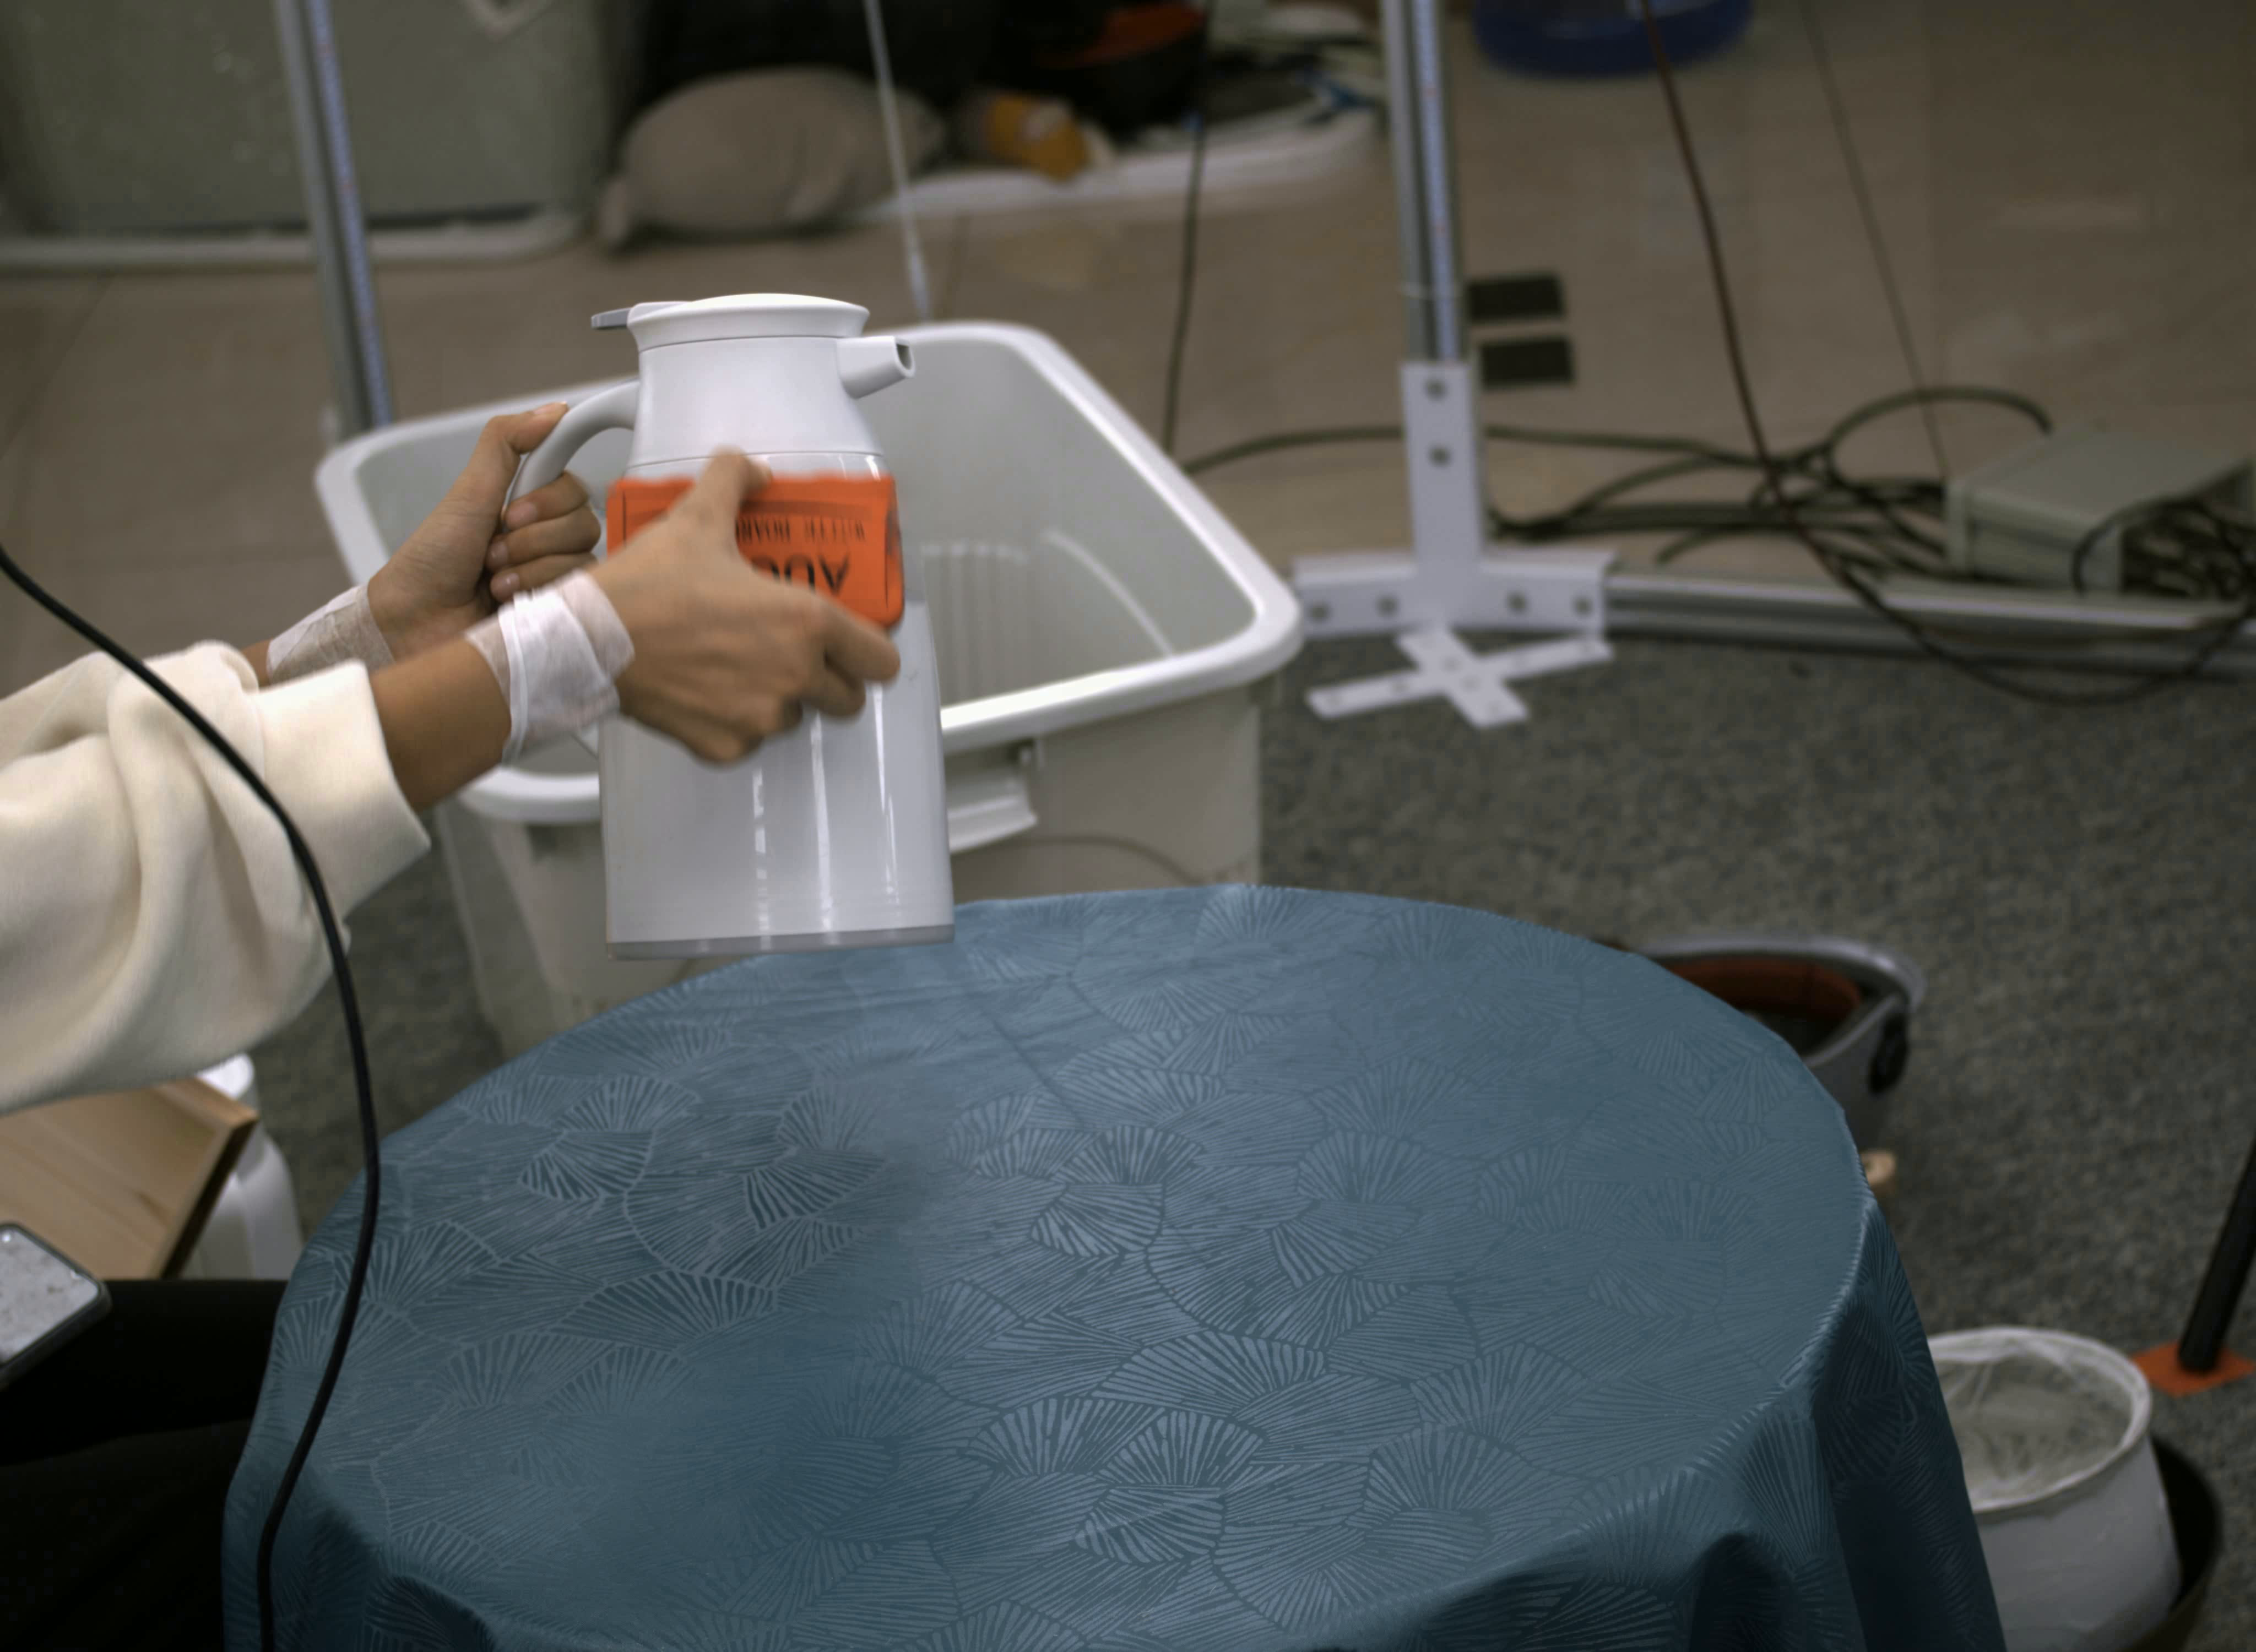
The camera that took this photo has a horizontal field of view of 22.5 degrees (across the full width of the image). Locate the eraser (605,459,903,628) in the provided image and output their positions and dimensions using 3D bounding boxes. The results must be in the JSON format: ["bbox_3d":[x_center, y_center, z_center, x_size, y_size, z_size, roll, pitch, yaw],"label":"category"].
[{"bbox_3d":[-0.136,-0.103,2.058,0.108,0.059,0.023,-2,-9,-2],"label":"eraser"}]

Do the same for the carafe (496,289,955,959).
[{"bbox_3d":[-0.156,-0.076,2.132,0.167,0.249,0.132,-4,1,16],"label":"carafe"}]
